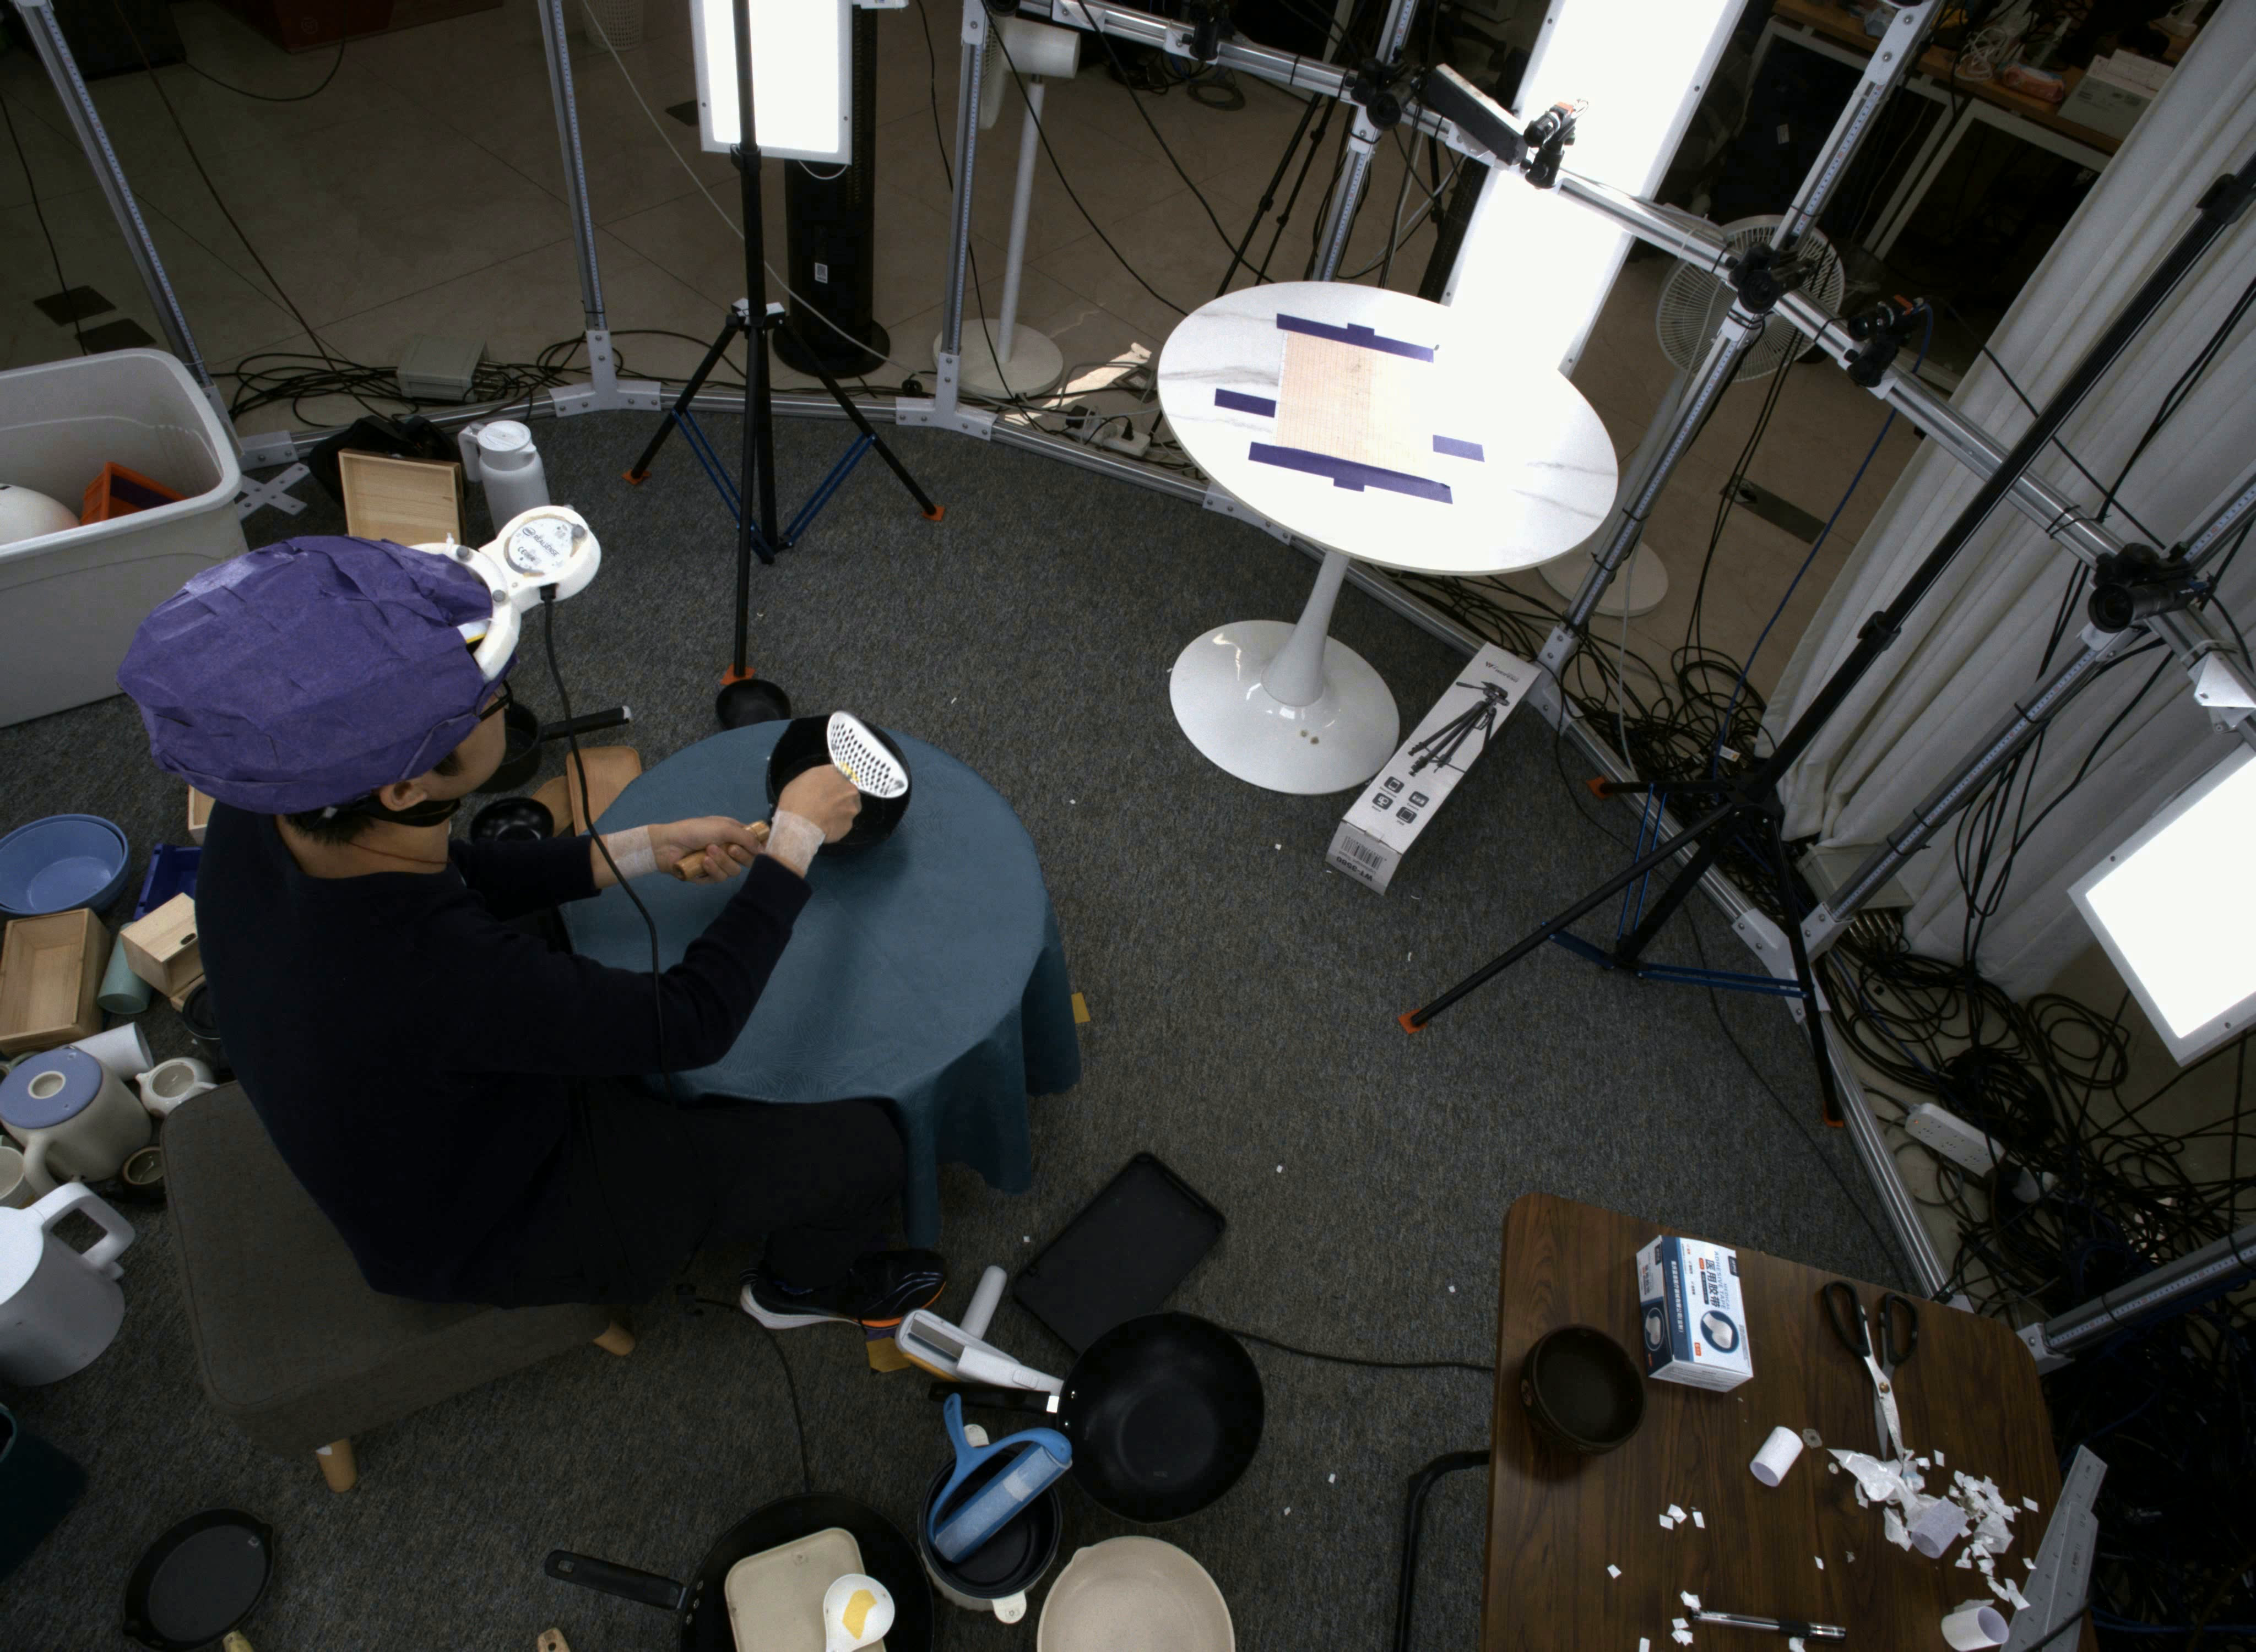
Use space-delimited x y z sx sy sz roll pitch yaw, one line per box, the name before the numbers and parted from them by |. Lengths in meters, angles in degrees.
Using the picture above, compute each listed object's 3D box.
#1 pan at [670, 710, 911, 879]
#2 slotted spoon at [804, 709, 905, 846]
pan | -0.430 -0.011 1.629 0.343 0.108 0.208 -38 88 -35
slotted spoon | -0.344 -0.052 1.557 0.140 0.050 0.341 48 8 -15
